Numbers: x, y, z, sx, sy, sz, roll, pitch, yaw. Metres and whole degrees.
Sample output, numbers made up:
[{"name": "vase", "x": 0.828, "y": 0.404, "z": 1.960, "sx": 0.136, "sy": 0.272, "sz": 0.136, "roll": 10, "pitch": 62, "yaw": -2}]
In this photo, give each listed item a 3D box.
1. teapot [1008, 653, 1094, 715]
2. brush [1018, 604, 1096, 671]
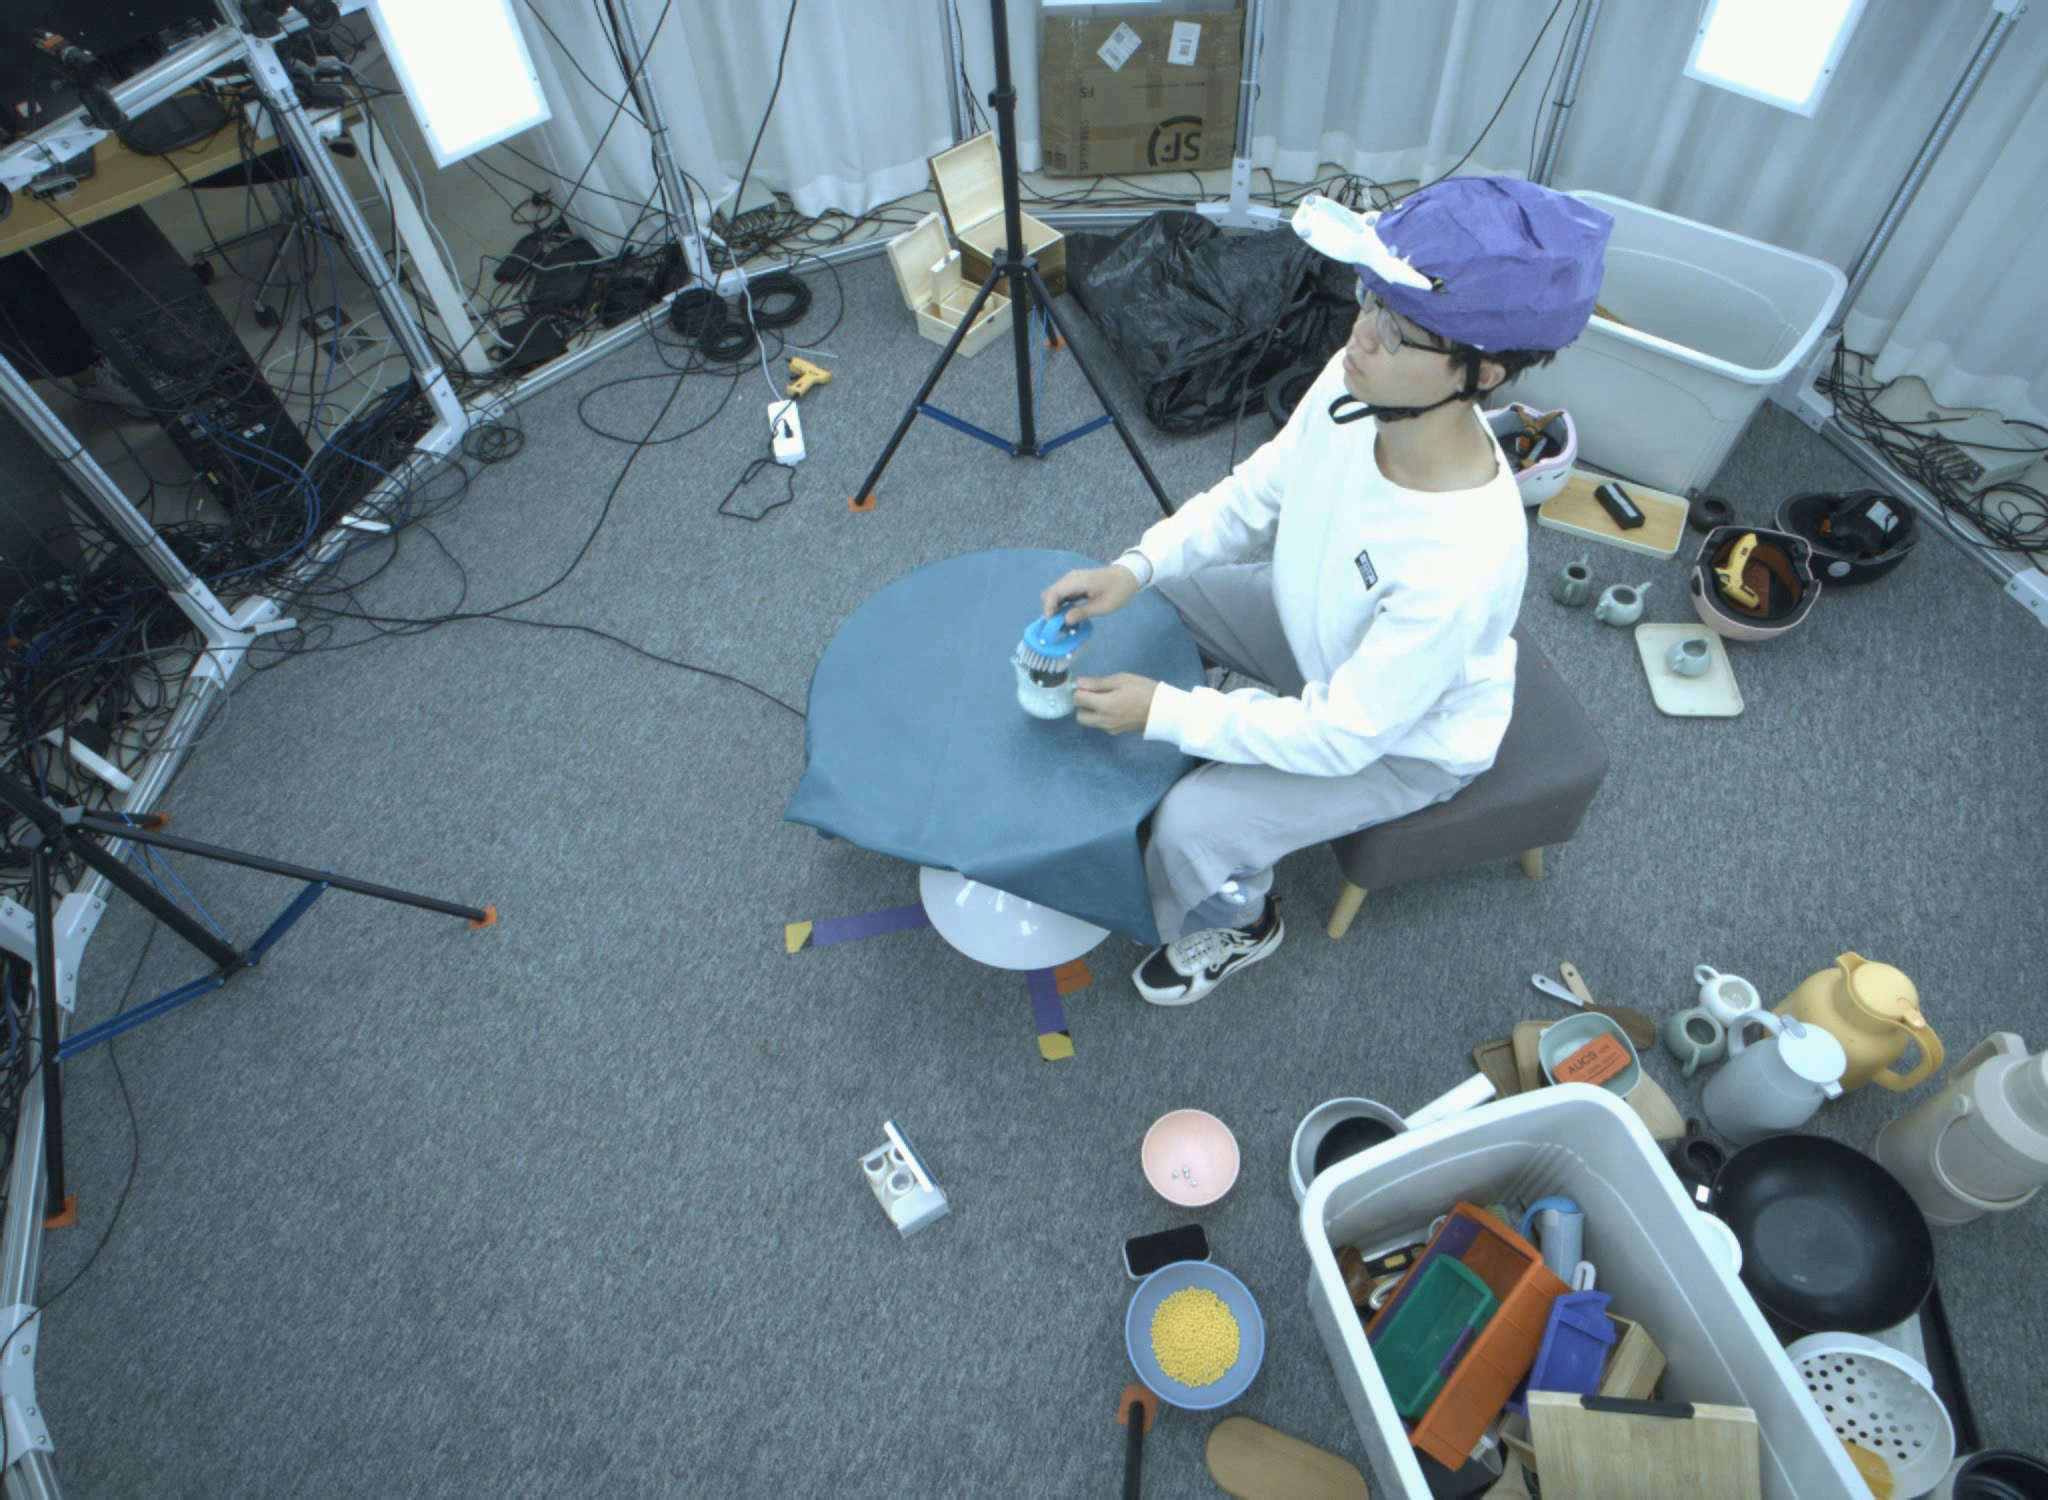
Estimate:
[{"name": "teapot", "x": 0.038, "y": -0.095, "z": 1.768, "sx": 0.135, "sy": 0.062, "sz": 0.096, "roll": 22, "pitch": 50, "yaw": 18}, {"name": "brush", "x": 0.050, "y": -0.169, "z": 1.740, "sx": 0.083, "sy": 0.064, "sz": 0.143, "roll": 25, "pitch": 35, "yaw": 16}]
